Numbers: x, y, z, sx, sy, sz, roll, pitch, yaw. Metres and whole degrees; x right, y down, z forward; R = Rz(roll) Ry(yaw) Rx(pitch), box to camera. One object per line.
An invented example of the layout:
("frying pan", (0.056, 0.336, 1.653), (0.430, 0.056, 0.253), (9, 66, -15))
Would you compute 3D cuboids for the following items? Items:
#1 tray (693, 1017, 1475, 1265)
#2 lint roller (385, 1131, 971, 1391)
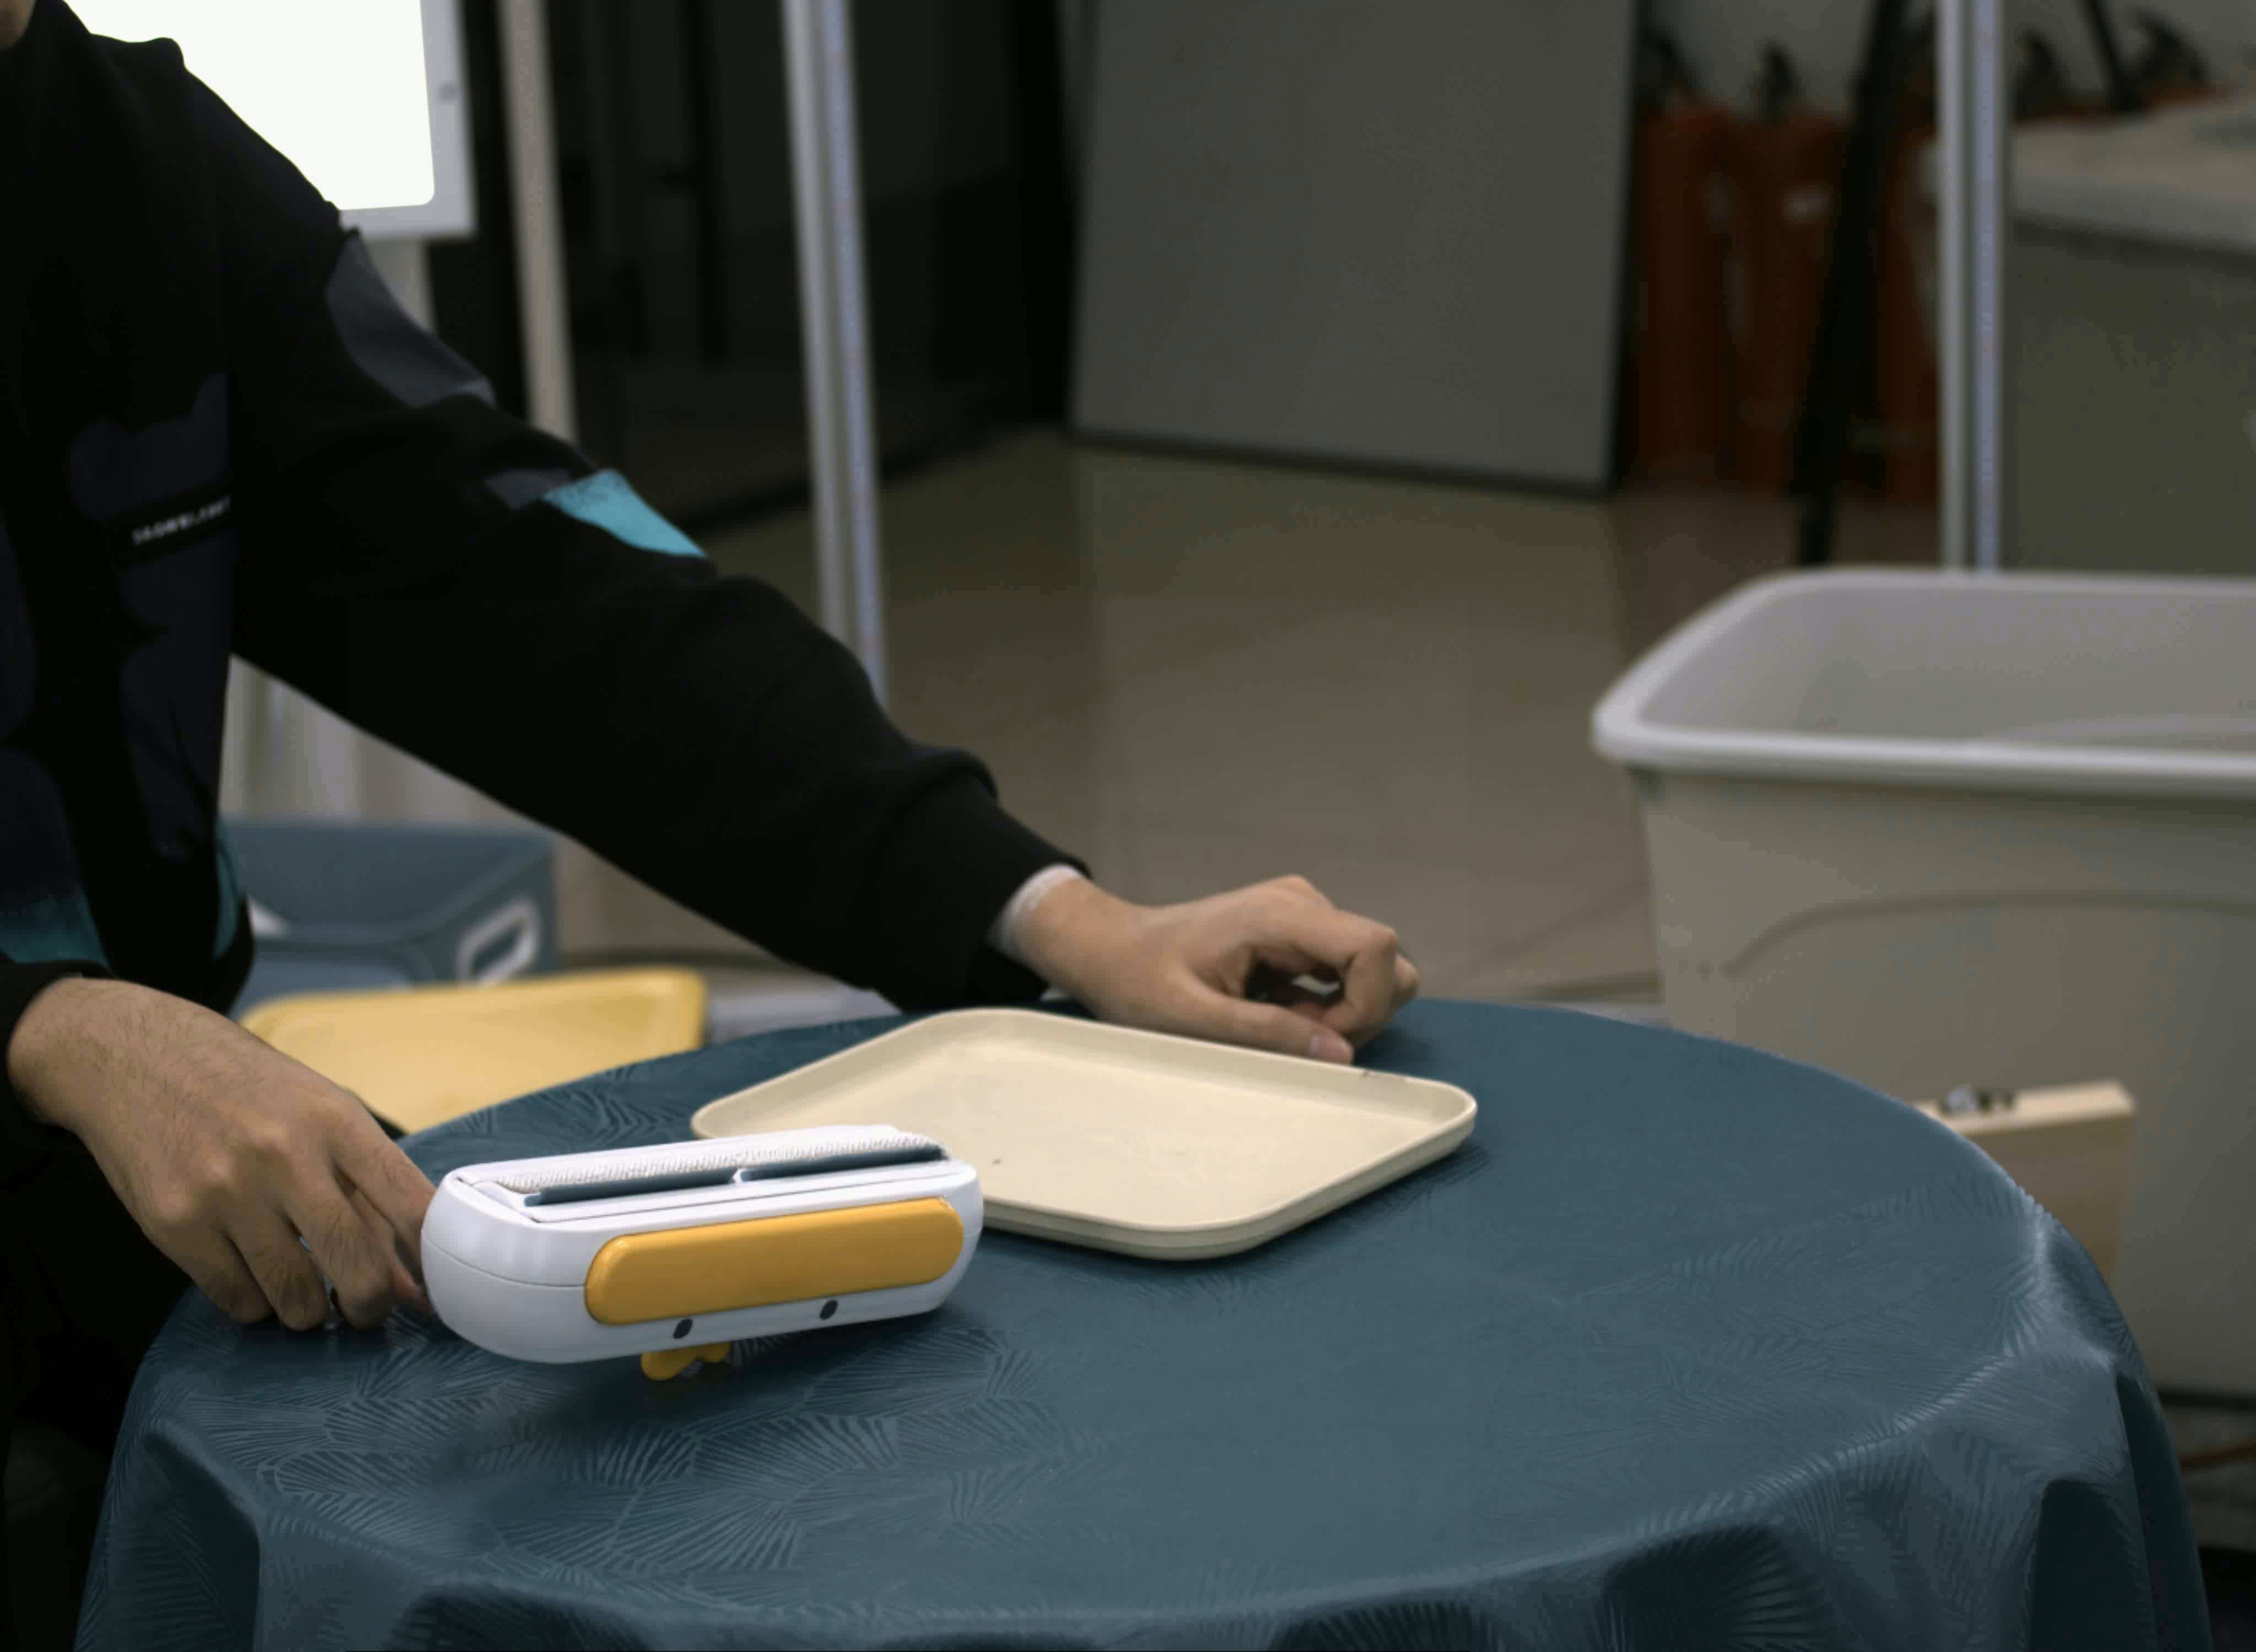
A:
("tray", (-0.015, 0.104, 1.807), (0.241, 0.017, 0.168), (7, 18, 39))
("lint roller", (-0.168, 0.125, 1.663), (0.188, 0.075, 0.194), (-8, 12, -38))
